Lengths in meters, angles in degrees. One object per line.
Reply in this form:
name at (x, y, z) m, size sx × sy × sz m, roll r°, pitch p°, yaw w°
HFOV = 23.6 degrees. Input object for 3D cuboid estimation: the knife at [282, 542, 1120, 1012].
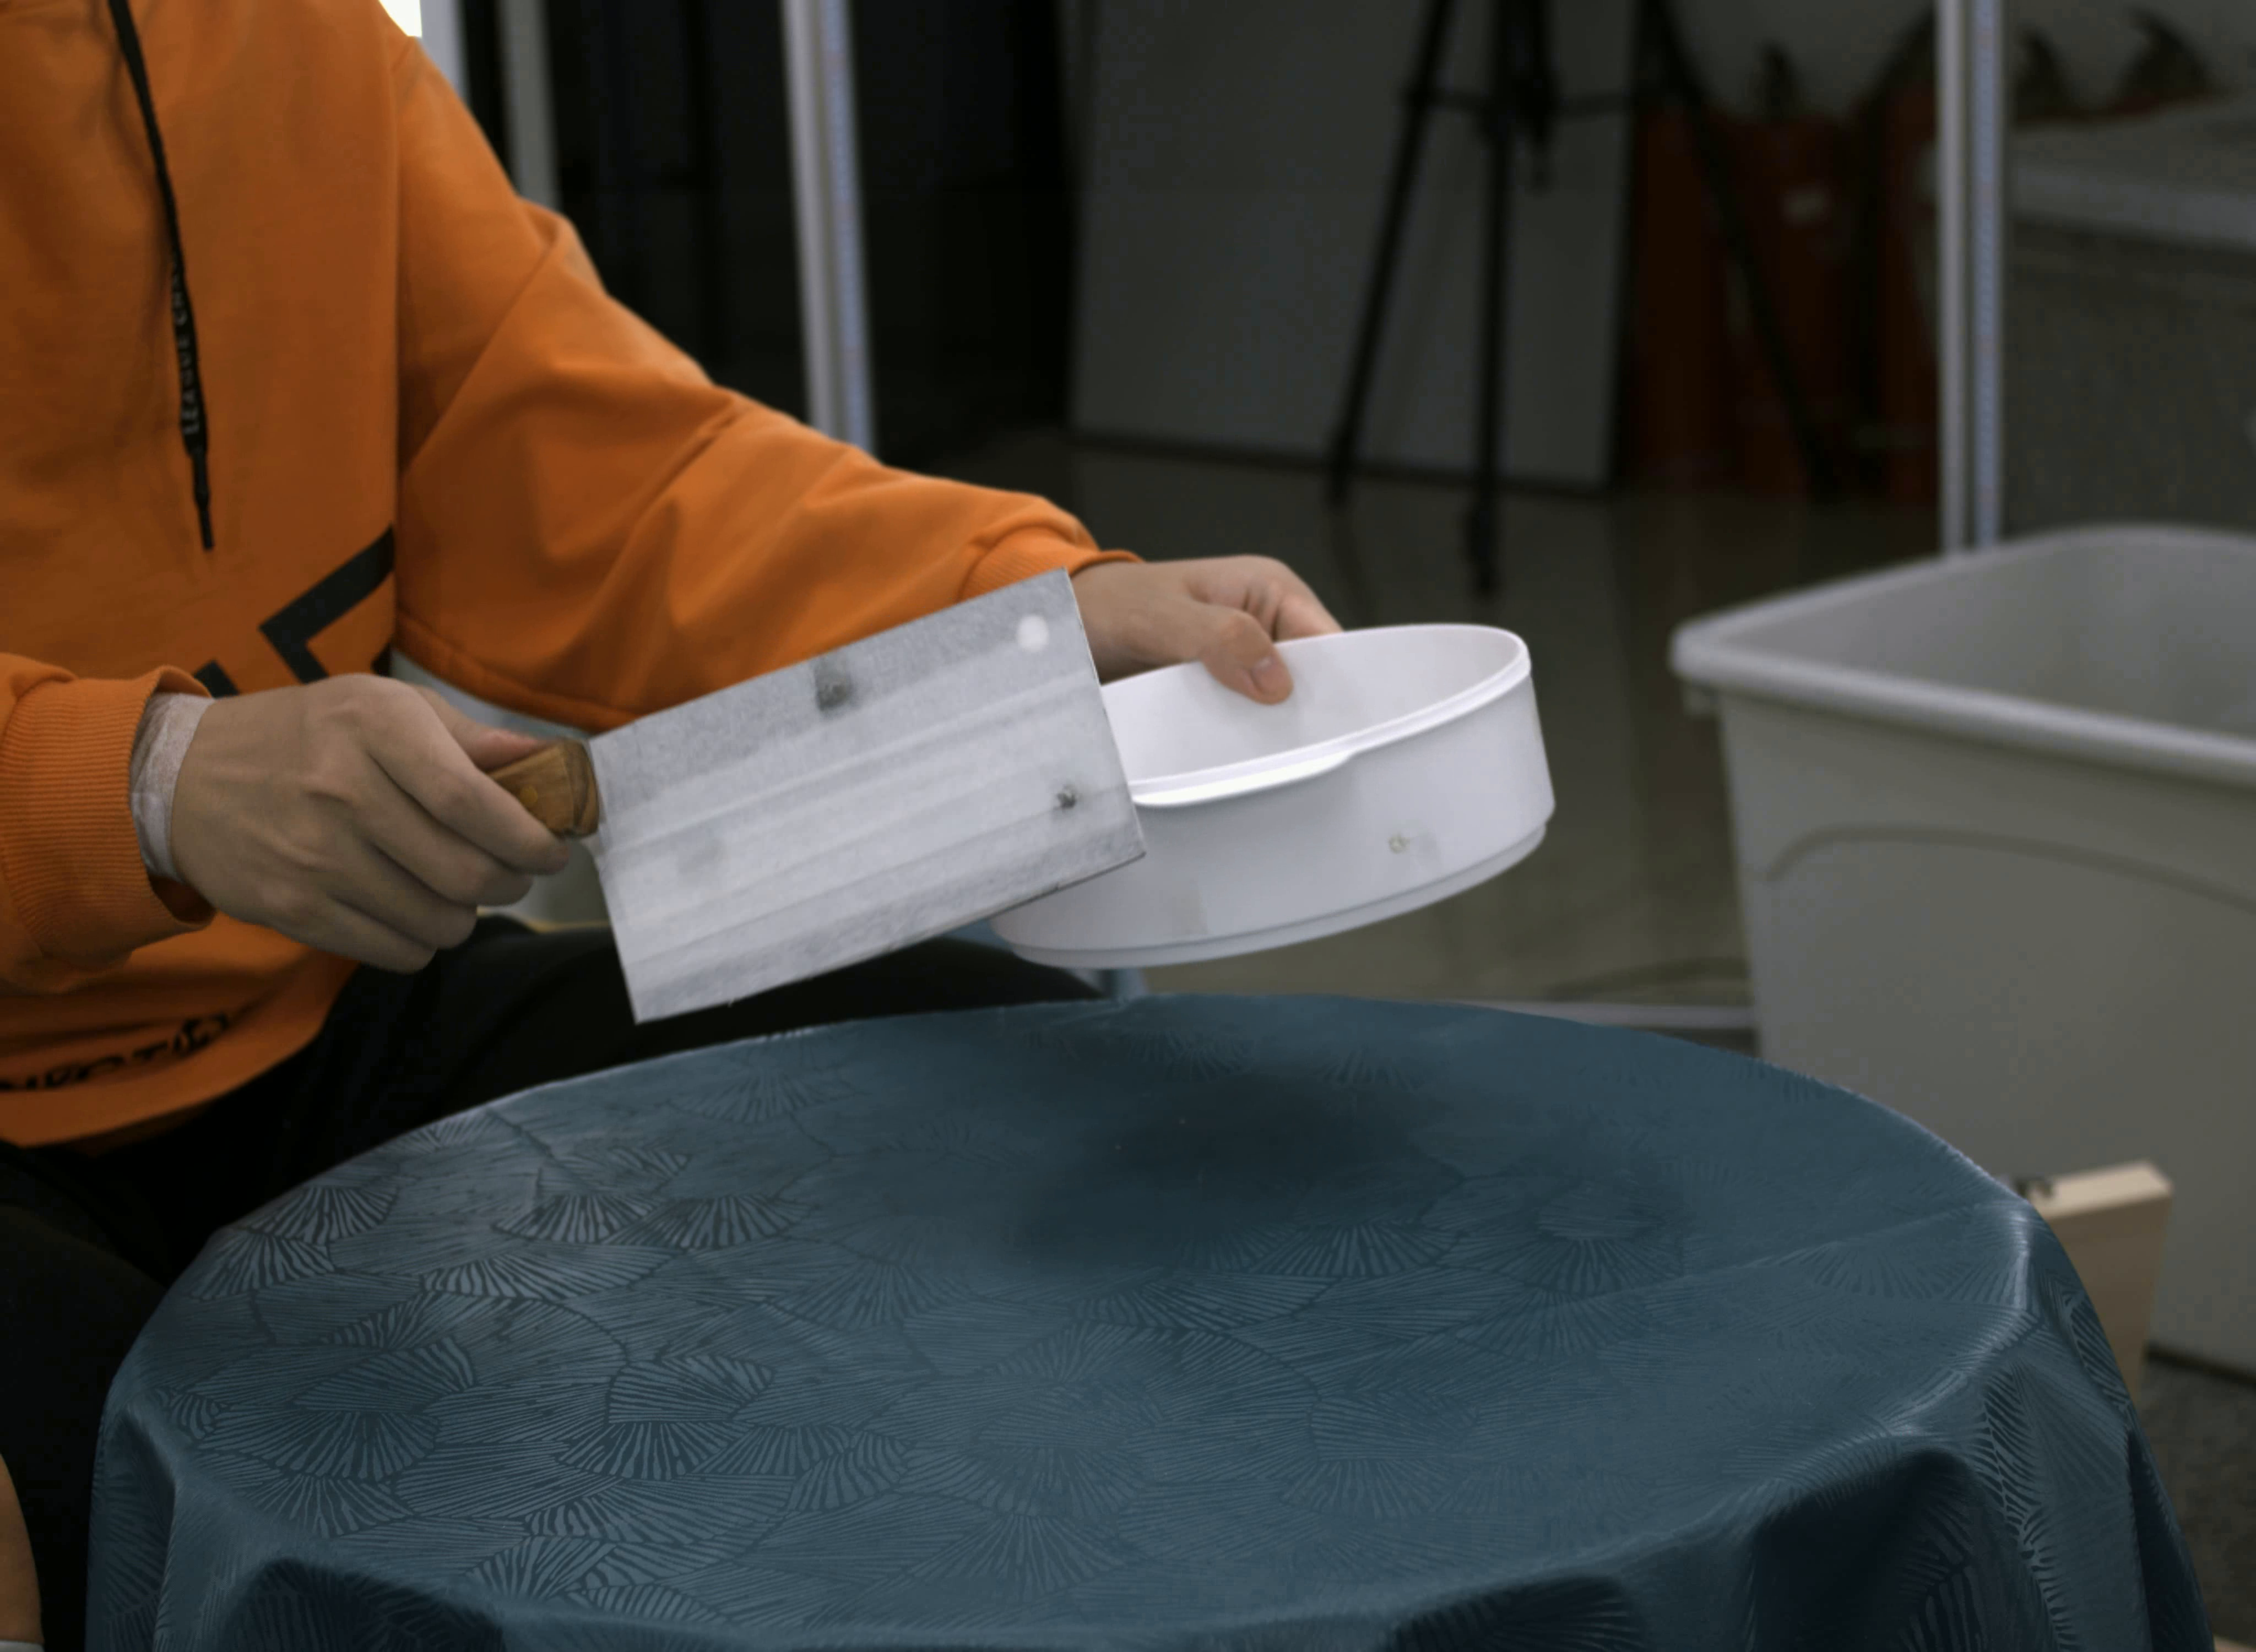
knife at (-0.132, 0.003, 1.639) m, size 0.307 × 0.094 × 0.020 m, roll -20°, pitch -5°, yaw 31°

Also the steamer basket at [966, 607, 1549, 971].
steamer basket at (0.040, -0.011, 1.775) m, size 0.200 × 0.070 × 0.231 m, roll -13°, pitch 14°, yaw 4°
